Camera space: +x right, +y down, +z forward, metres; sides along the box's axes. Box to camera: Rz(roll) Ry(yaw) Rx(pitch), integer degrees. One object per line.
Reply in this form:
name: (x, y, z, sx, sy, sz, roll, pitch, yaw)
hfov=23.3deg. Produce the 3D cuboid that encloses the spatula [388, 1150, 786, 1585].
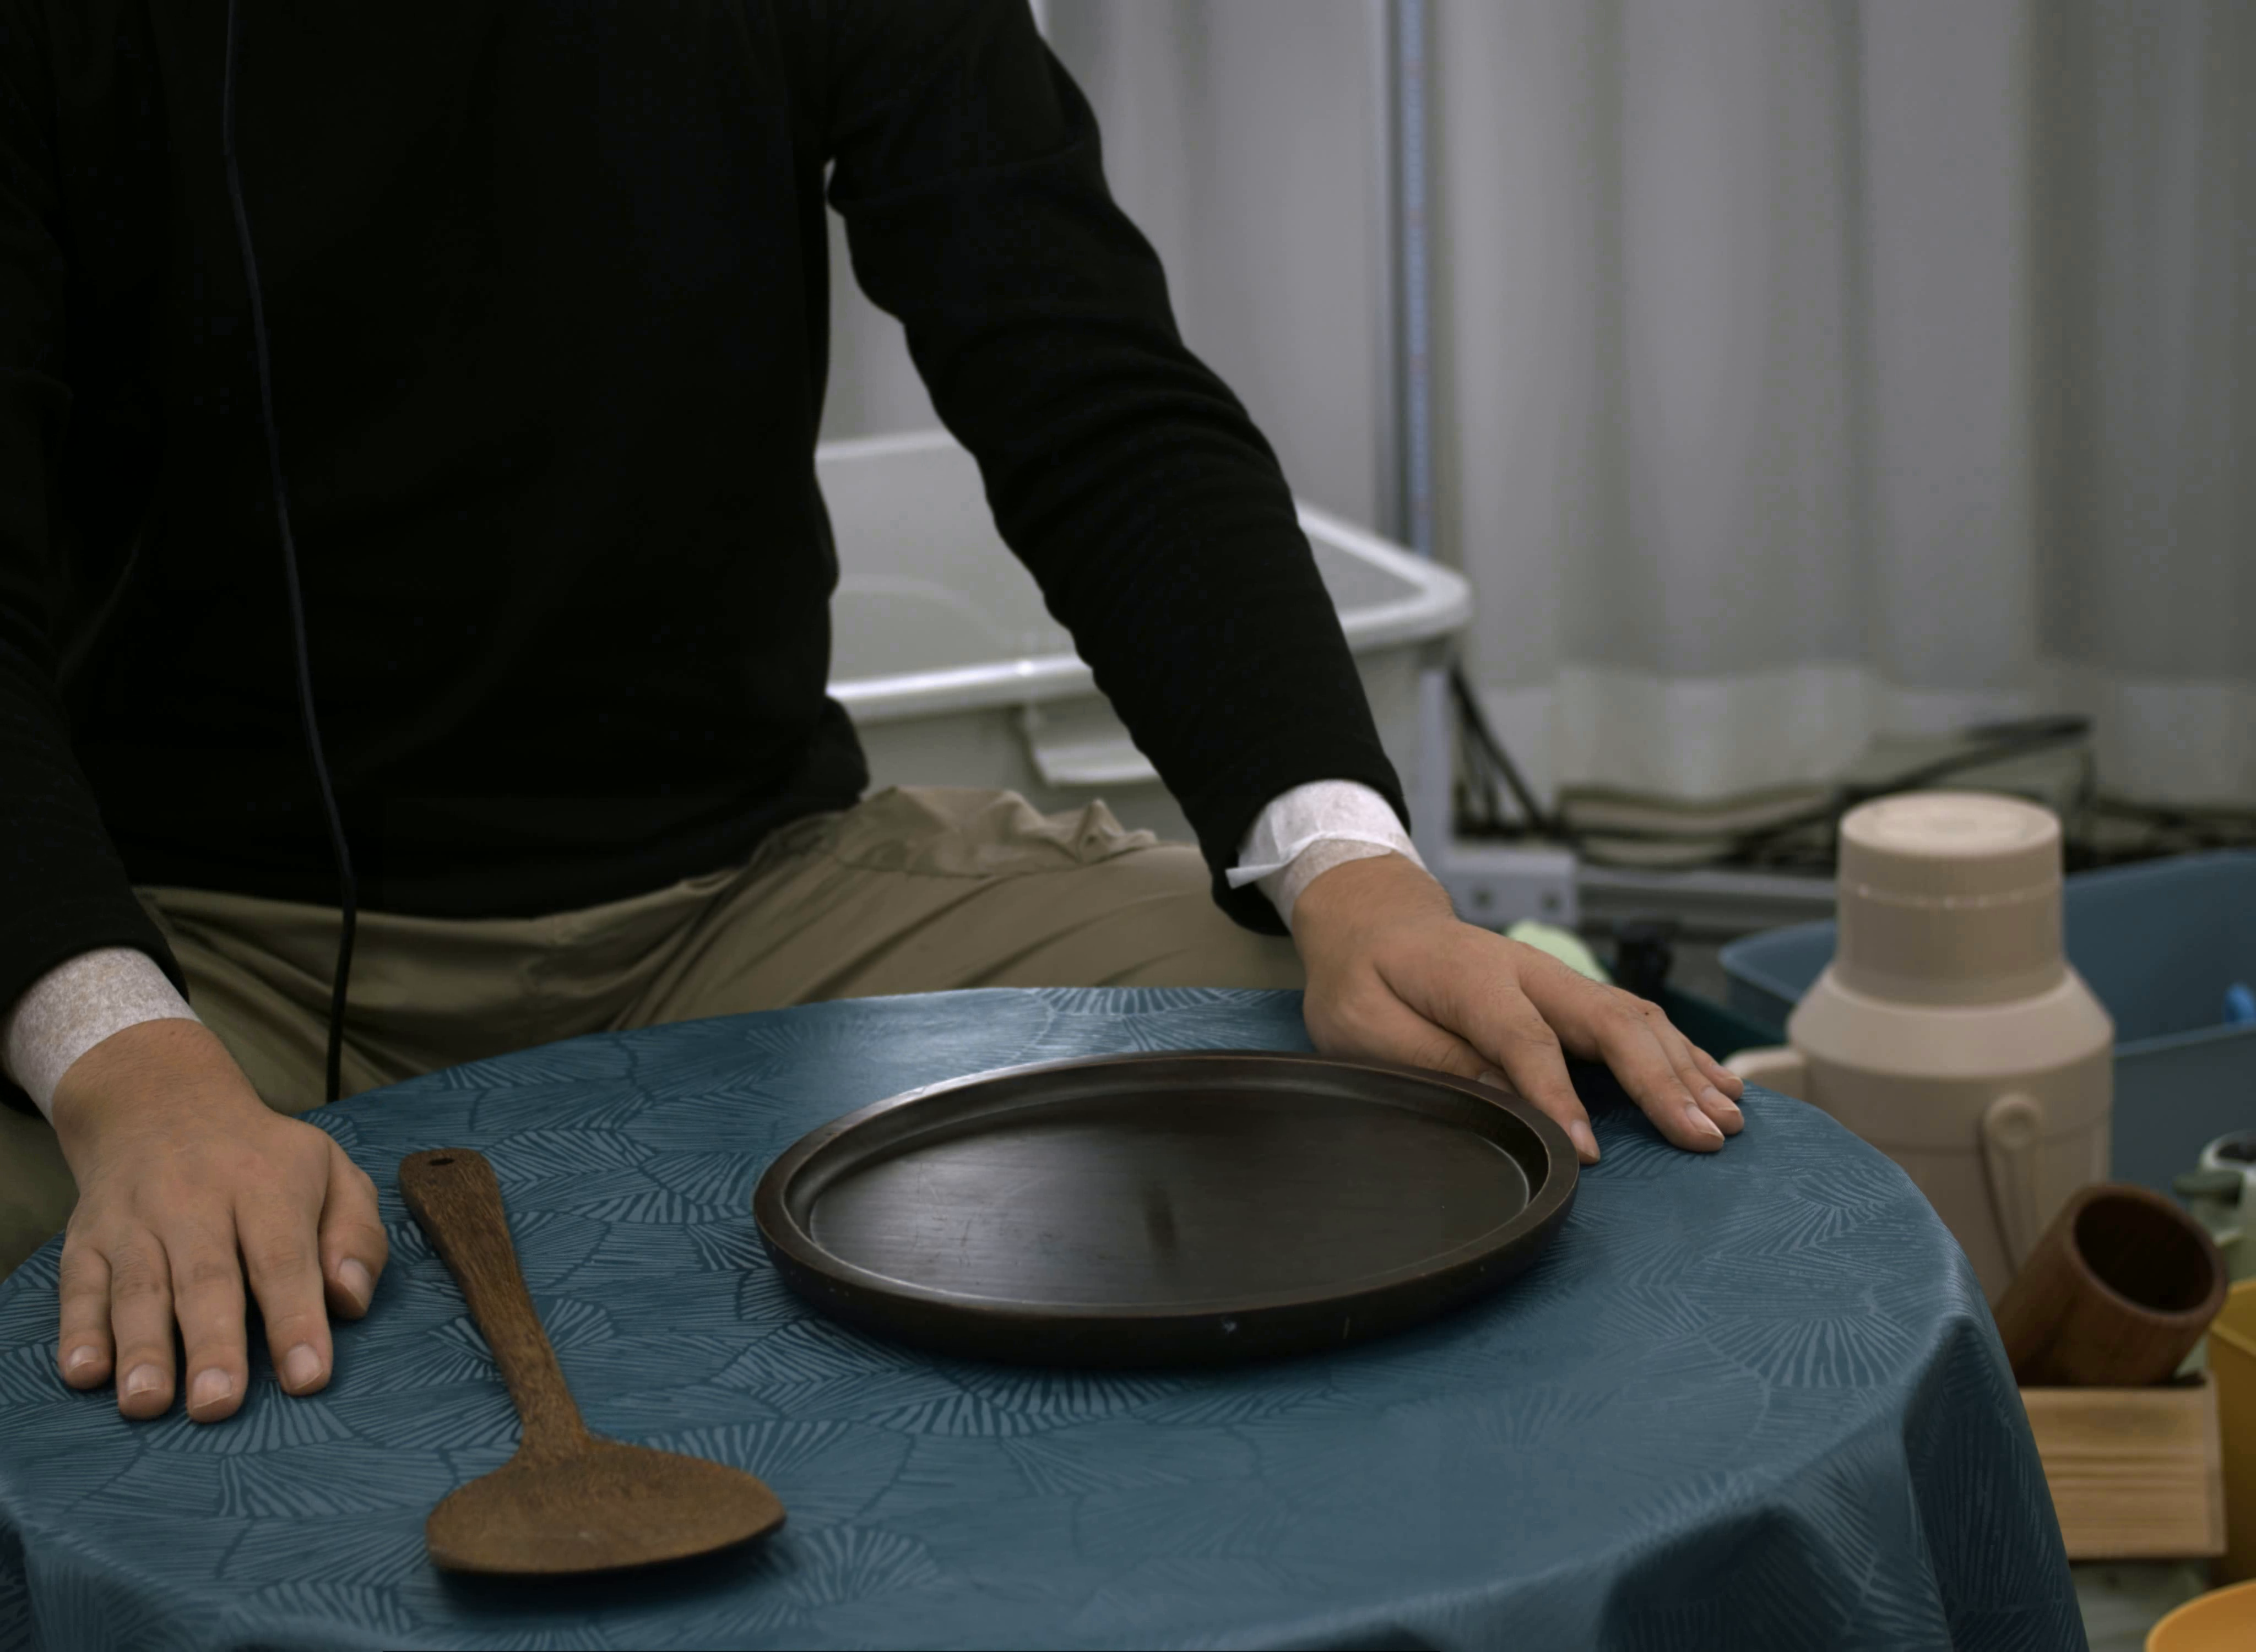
spatula: (-0.178, 0.150, 1.588, 0.095, 0.016, 0.389, -6, 15, -14)

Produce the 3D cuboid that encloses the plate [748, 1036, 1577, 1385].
plate: (0.011, 0.116, 1.666, 0.254, 0.029, 0.256, -3, 16, 1)
